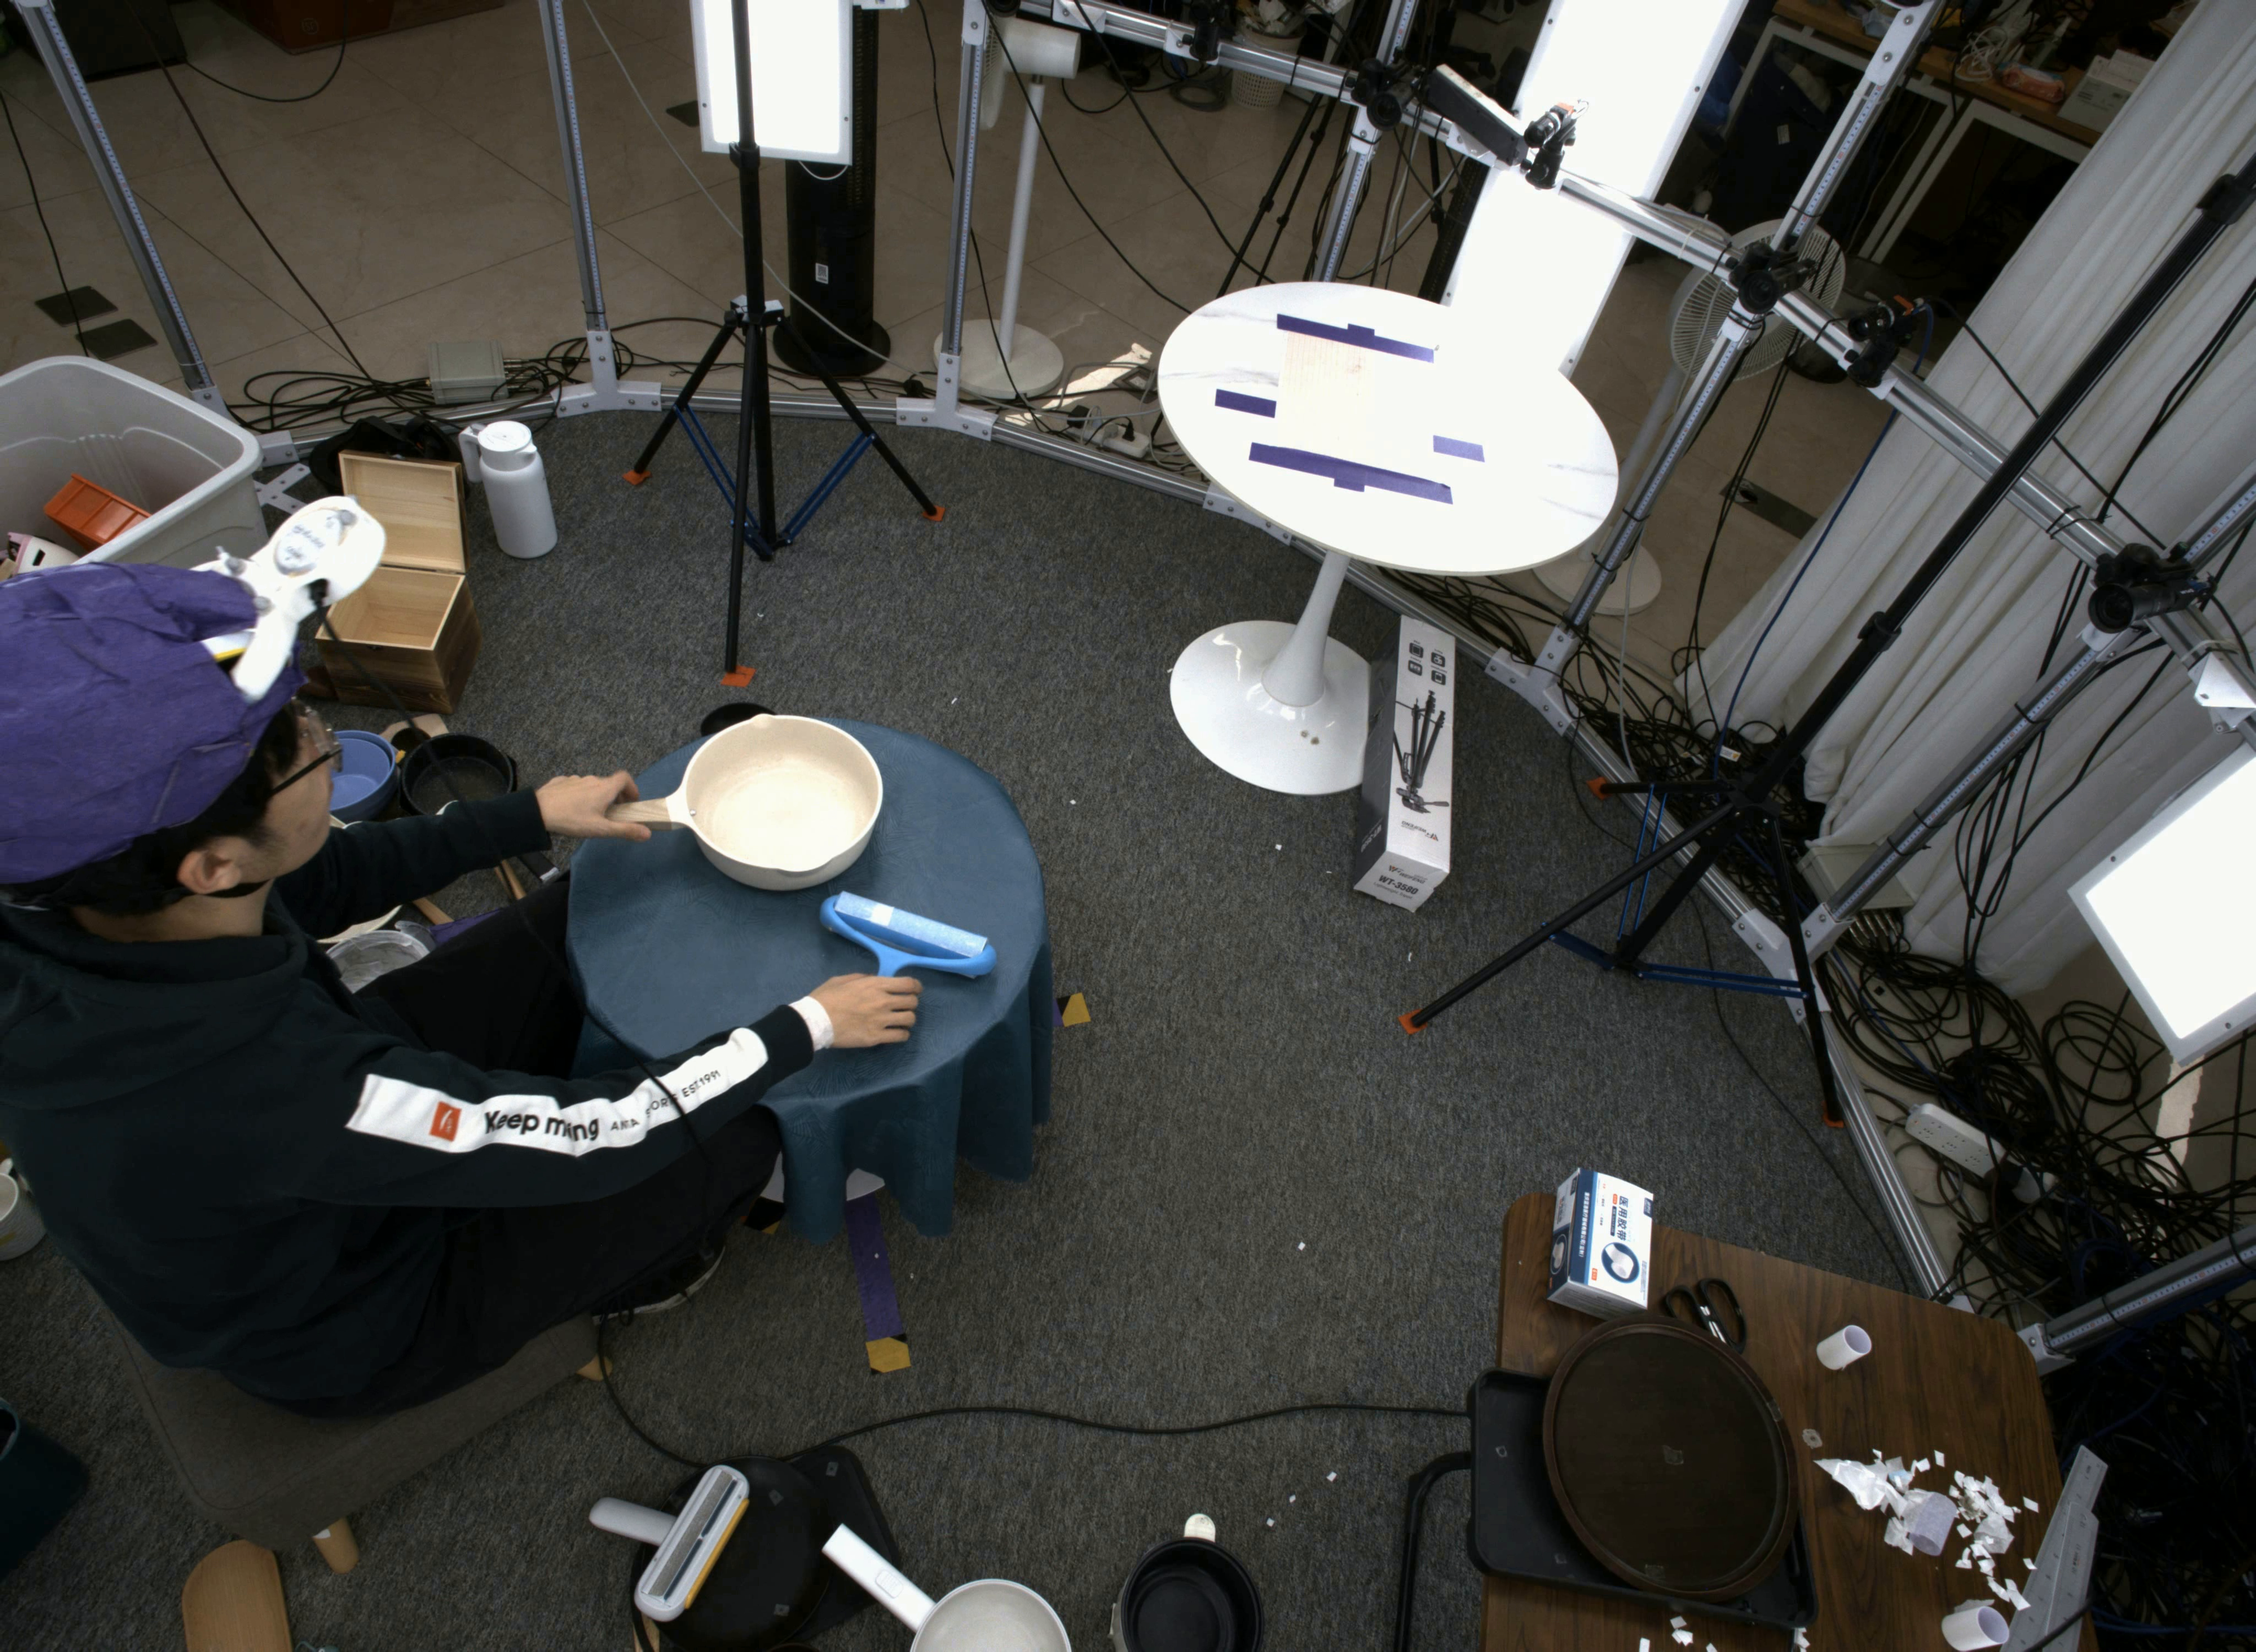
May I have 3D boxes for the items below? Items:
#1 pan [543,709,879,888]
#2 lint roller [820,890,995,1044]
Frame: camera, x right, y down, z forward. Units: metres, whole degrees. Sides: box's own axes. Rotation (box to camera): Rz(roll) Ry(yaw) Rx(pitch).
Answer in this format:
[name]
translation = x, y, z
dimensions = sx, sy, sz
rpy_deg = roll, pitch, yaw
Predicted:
[pan]
translation = -0.533, -0.015, 1.647
dimensions = 0.437, 0.104, 0.257
rpy_deg = -13, 60, -23
[lint roller]
translation = -0.289, 0.175, 1.599
dimensions = 0.228, 0.069, 0.178
rpy_deg = 17, 52, -4
